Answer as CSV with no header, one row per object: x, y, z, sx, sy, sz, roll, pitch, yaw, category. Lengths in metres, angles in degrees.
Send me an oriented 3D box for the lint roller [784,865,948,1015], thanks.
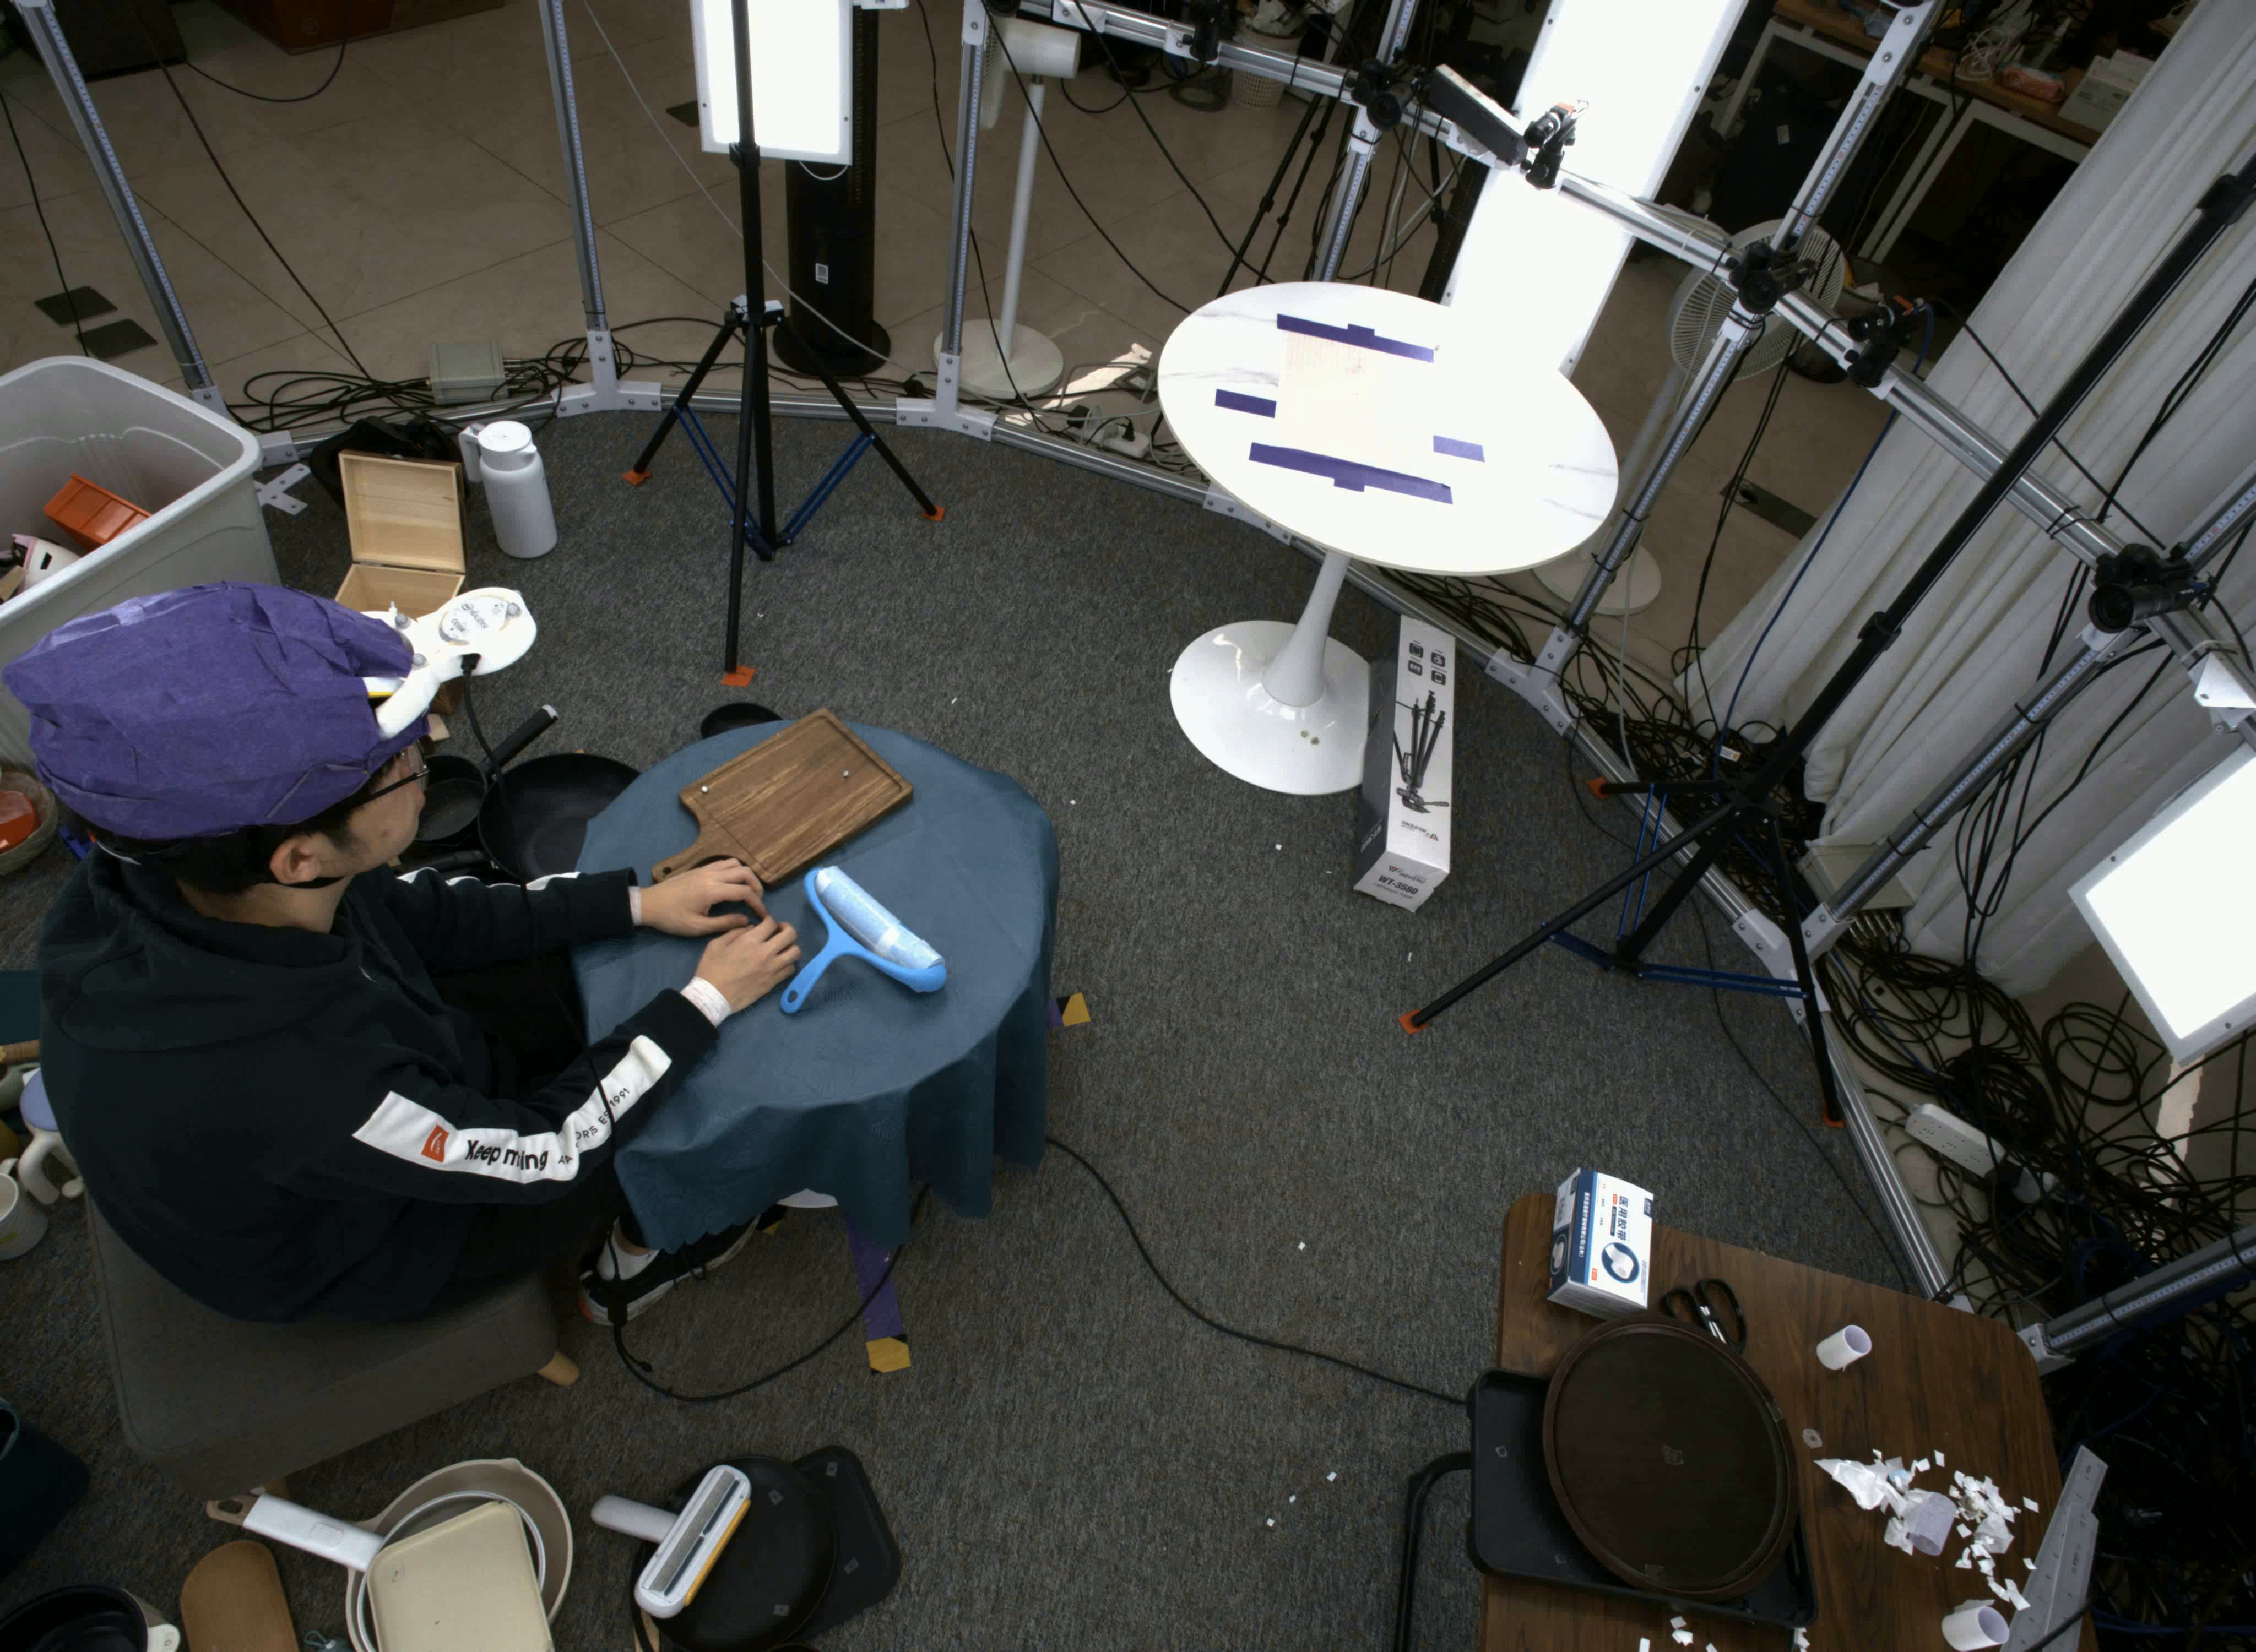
-0.350,0.157,1.596,0.225,0.069,0.180,37,53,11,lint roller

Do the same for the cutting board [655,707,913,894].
-0.478,-0.019,1.715,0.197,0.023,0.353,40,55,16,cutting board
